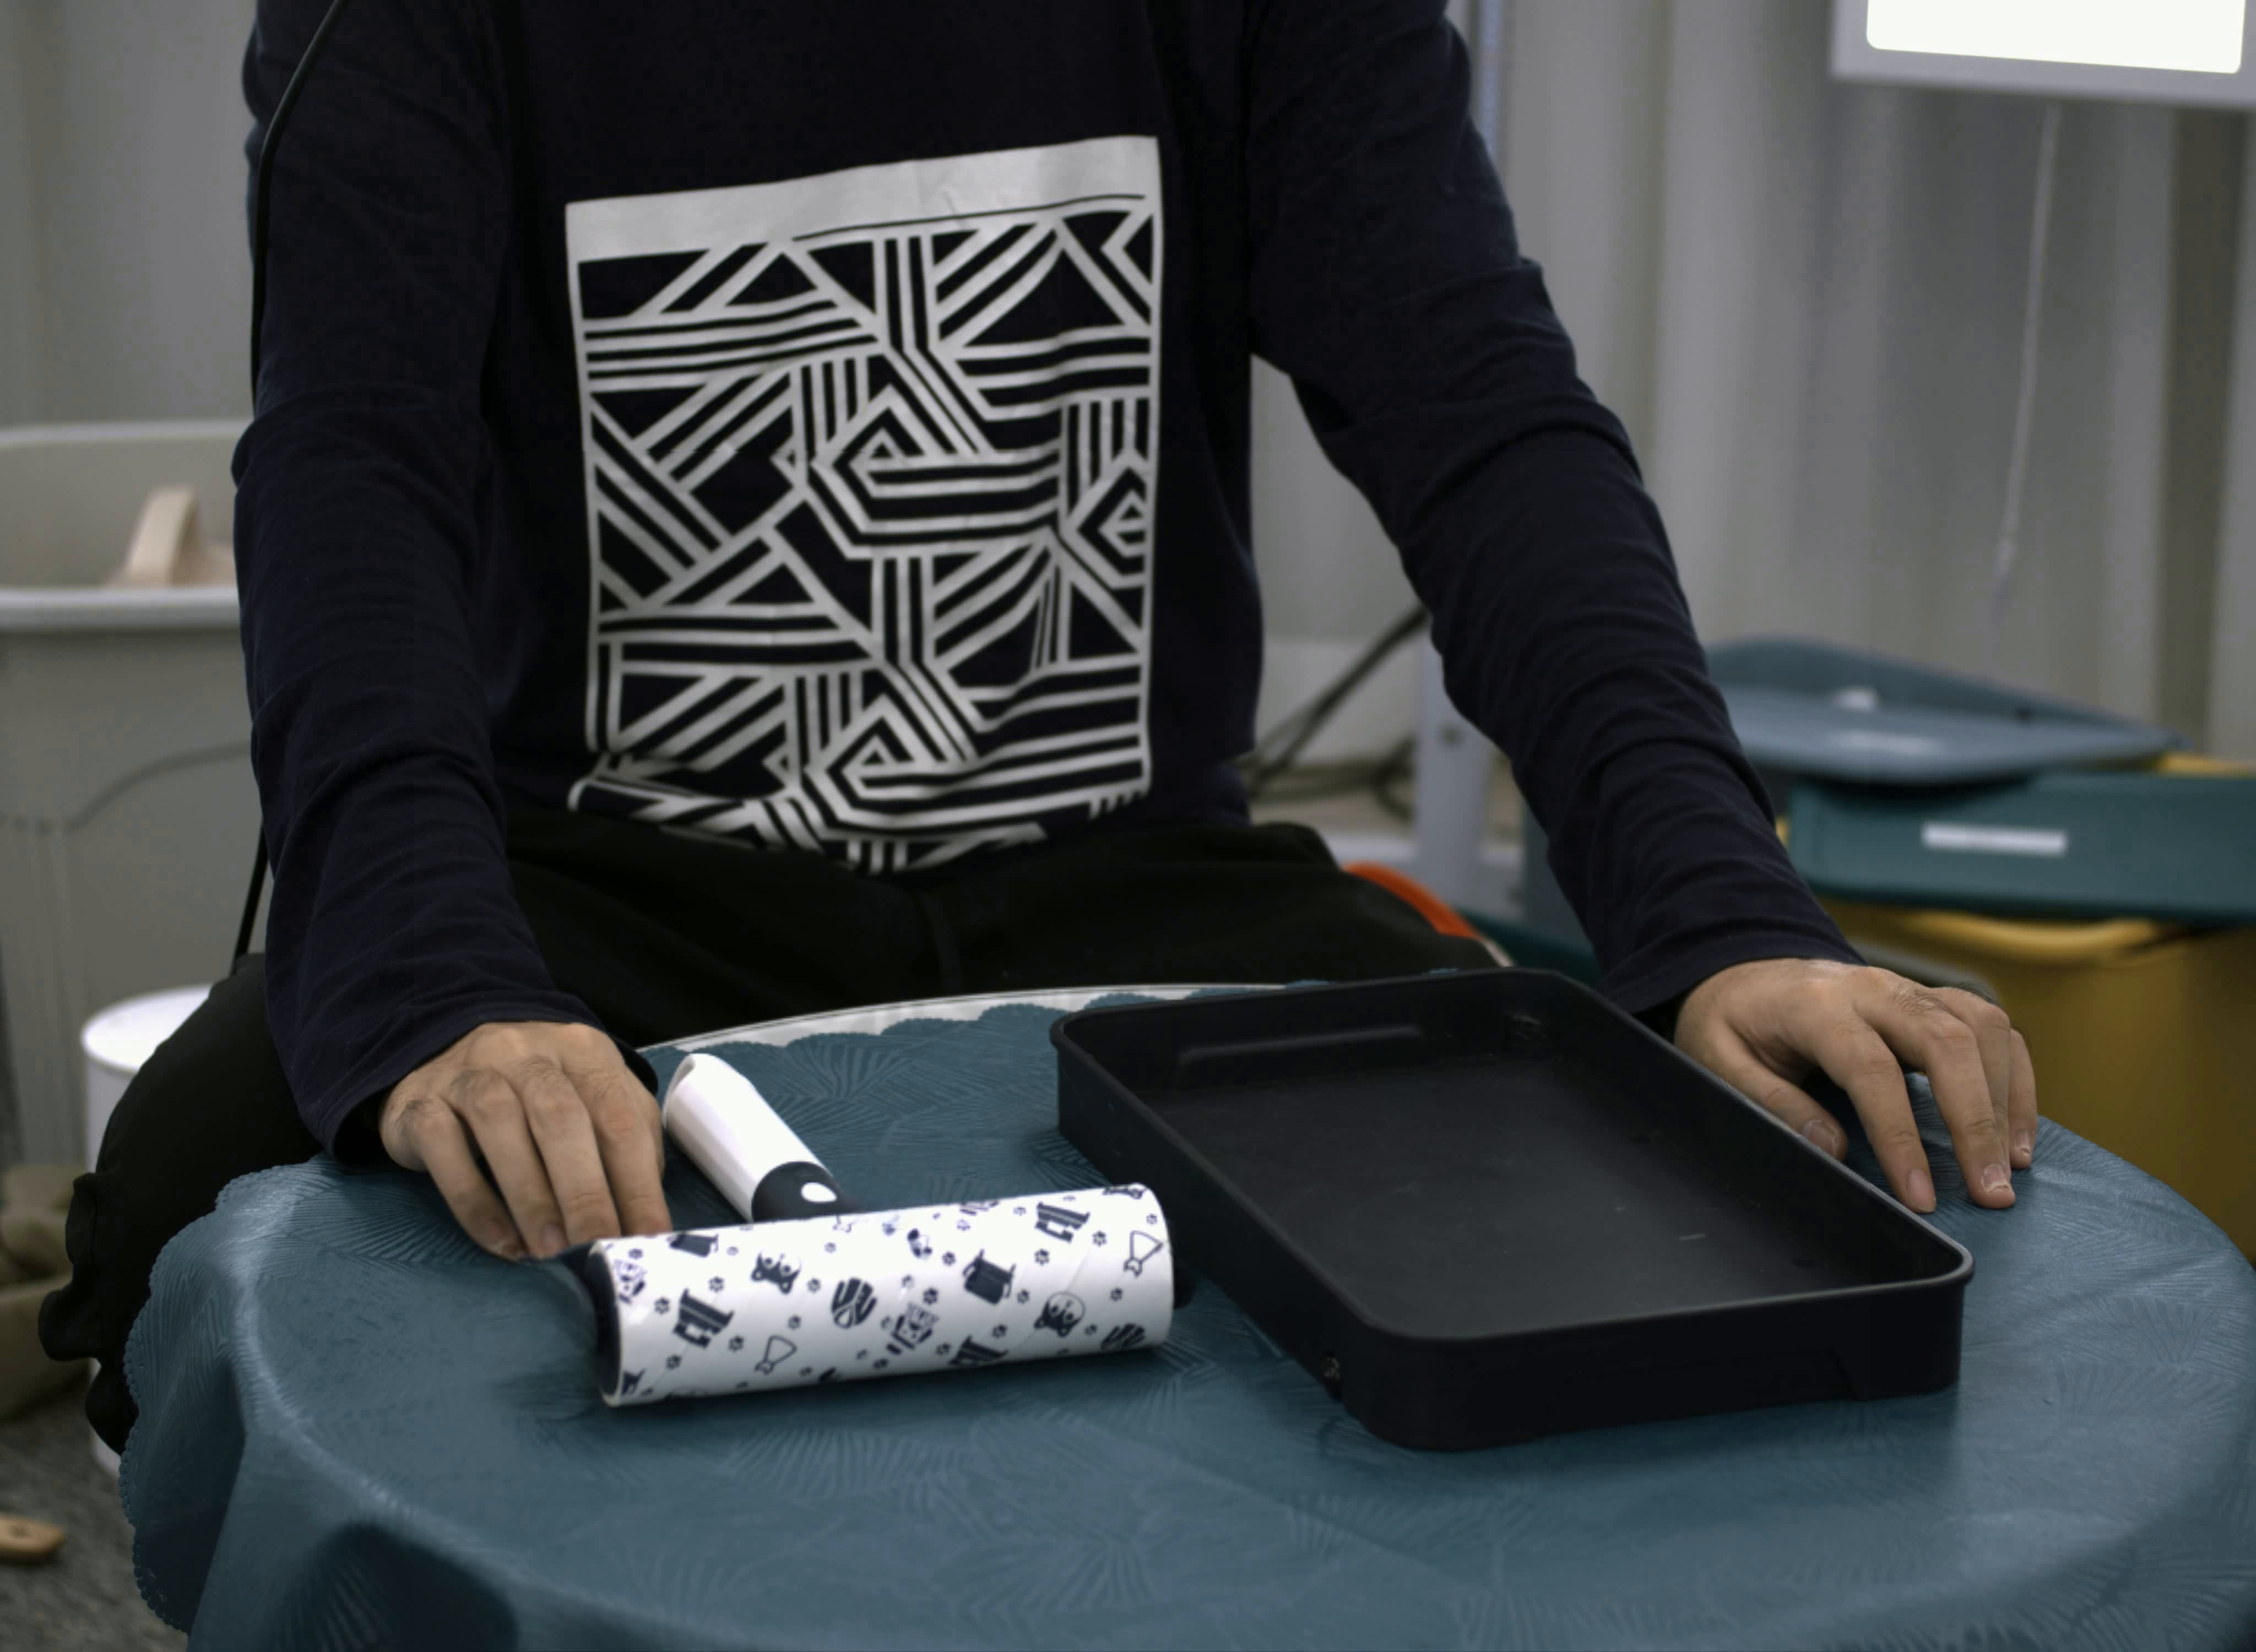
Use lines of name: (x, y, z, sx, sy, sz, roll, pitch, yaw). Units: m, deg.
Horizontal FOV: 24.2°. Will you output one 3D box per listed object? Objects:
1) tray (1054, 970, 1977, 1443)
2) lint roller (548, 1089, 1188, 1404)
tray: (0.107, 0.107, 1.579, 0.185, 0.037, 0.314, -4, 16, -18)
lint roller: (-0.103, 0.109, 1.560, 0.176, 0.051, 0.244, -6, 13, -18)
